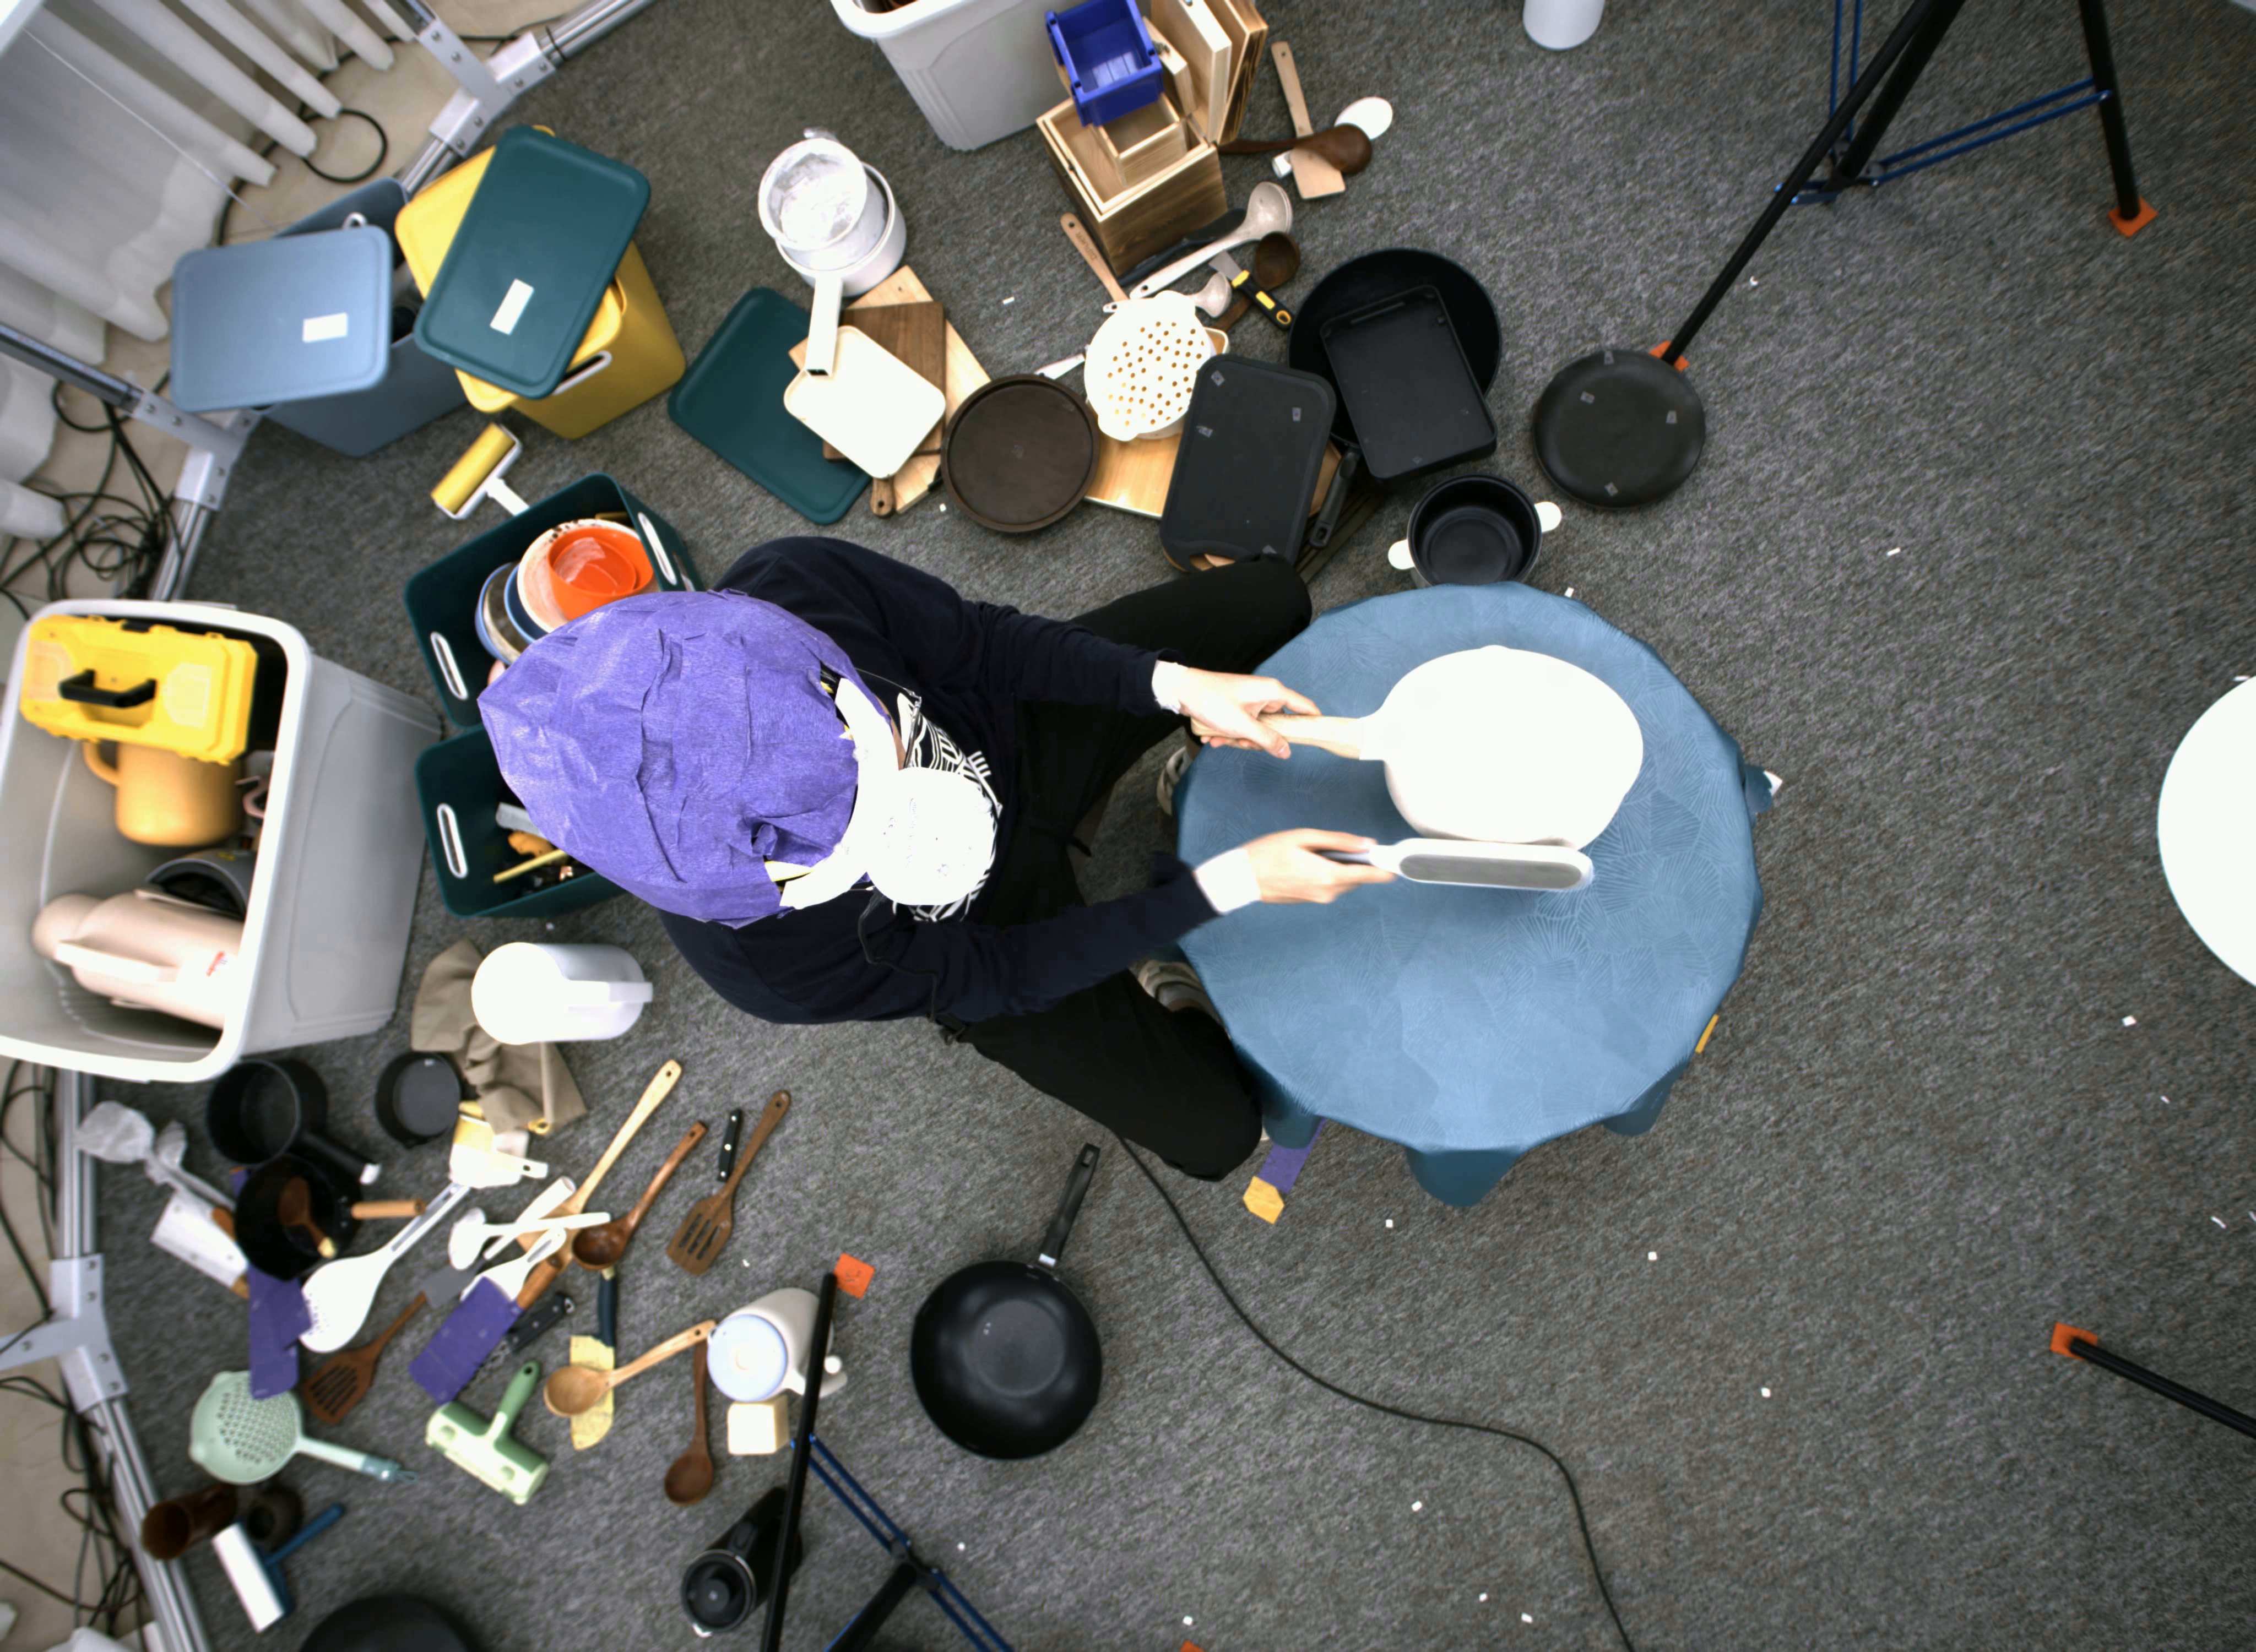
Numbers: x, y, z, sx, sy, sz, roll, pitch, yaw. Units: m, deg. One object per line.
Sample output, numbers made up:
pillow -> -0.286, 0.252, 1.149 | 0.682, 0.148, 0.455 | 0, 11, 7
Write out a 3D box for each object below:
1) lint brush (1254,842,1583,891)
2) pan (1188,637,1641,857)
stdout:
lint brush -> 0.270, 0.033, 1.309 | 0.310, 0.061, 0.020 | 2, 60, 18
pan -> 0.278, -0.076, 1.362 | 0.436, 0.104, 0.256 | 0, 53, 5
